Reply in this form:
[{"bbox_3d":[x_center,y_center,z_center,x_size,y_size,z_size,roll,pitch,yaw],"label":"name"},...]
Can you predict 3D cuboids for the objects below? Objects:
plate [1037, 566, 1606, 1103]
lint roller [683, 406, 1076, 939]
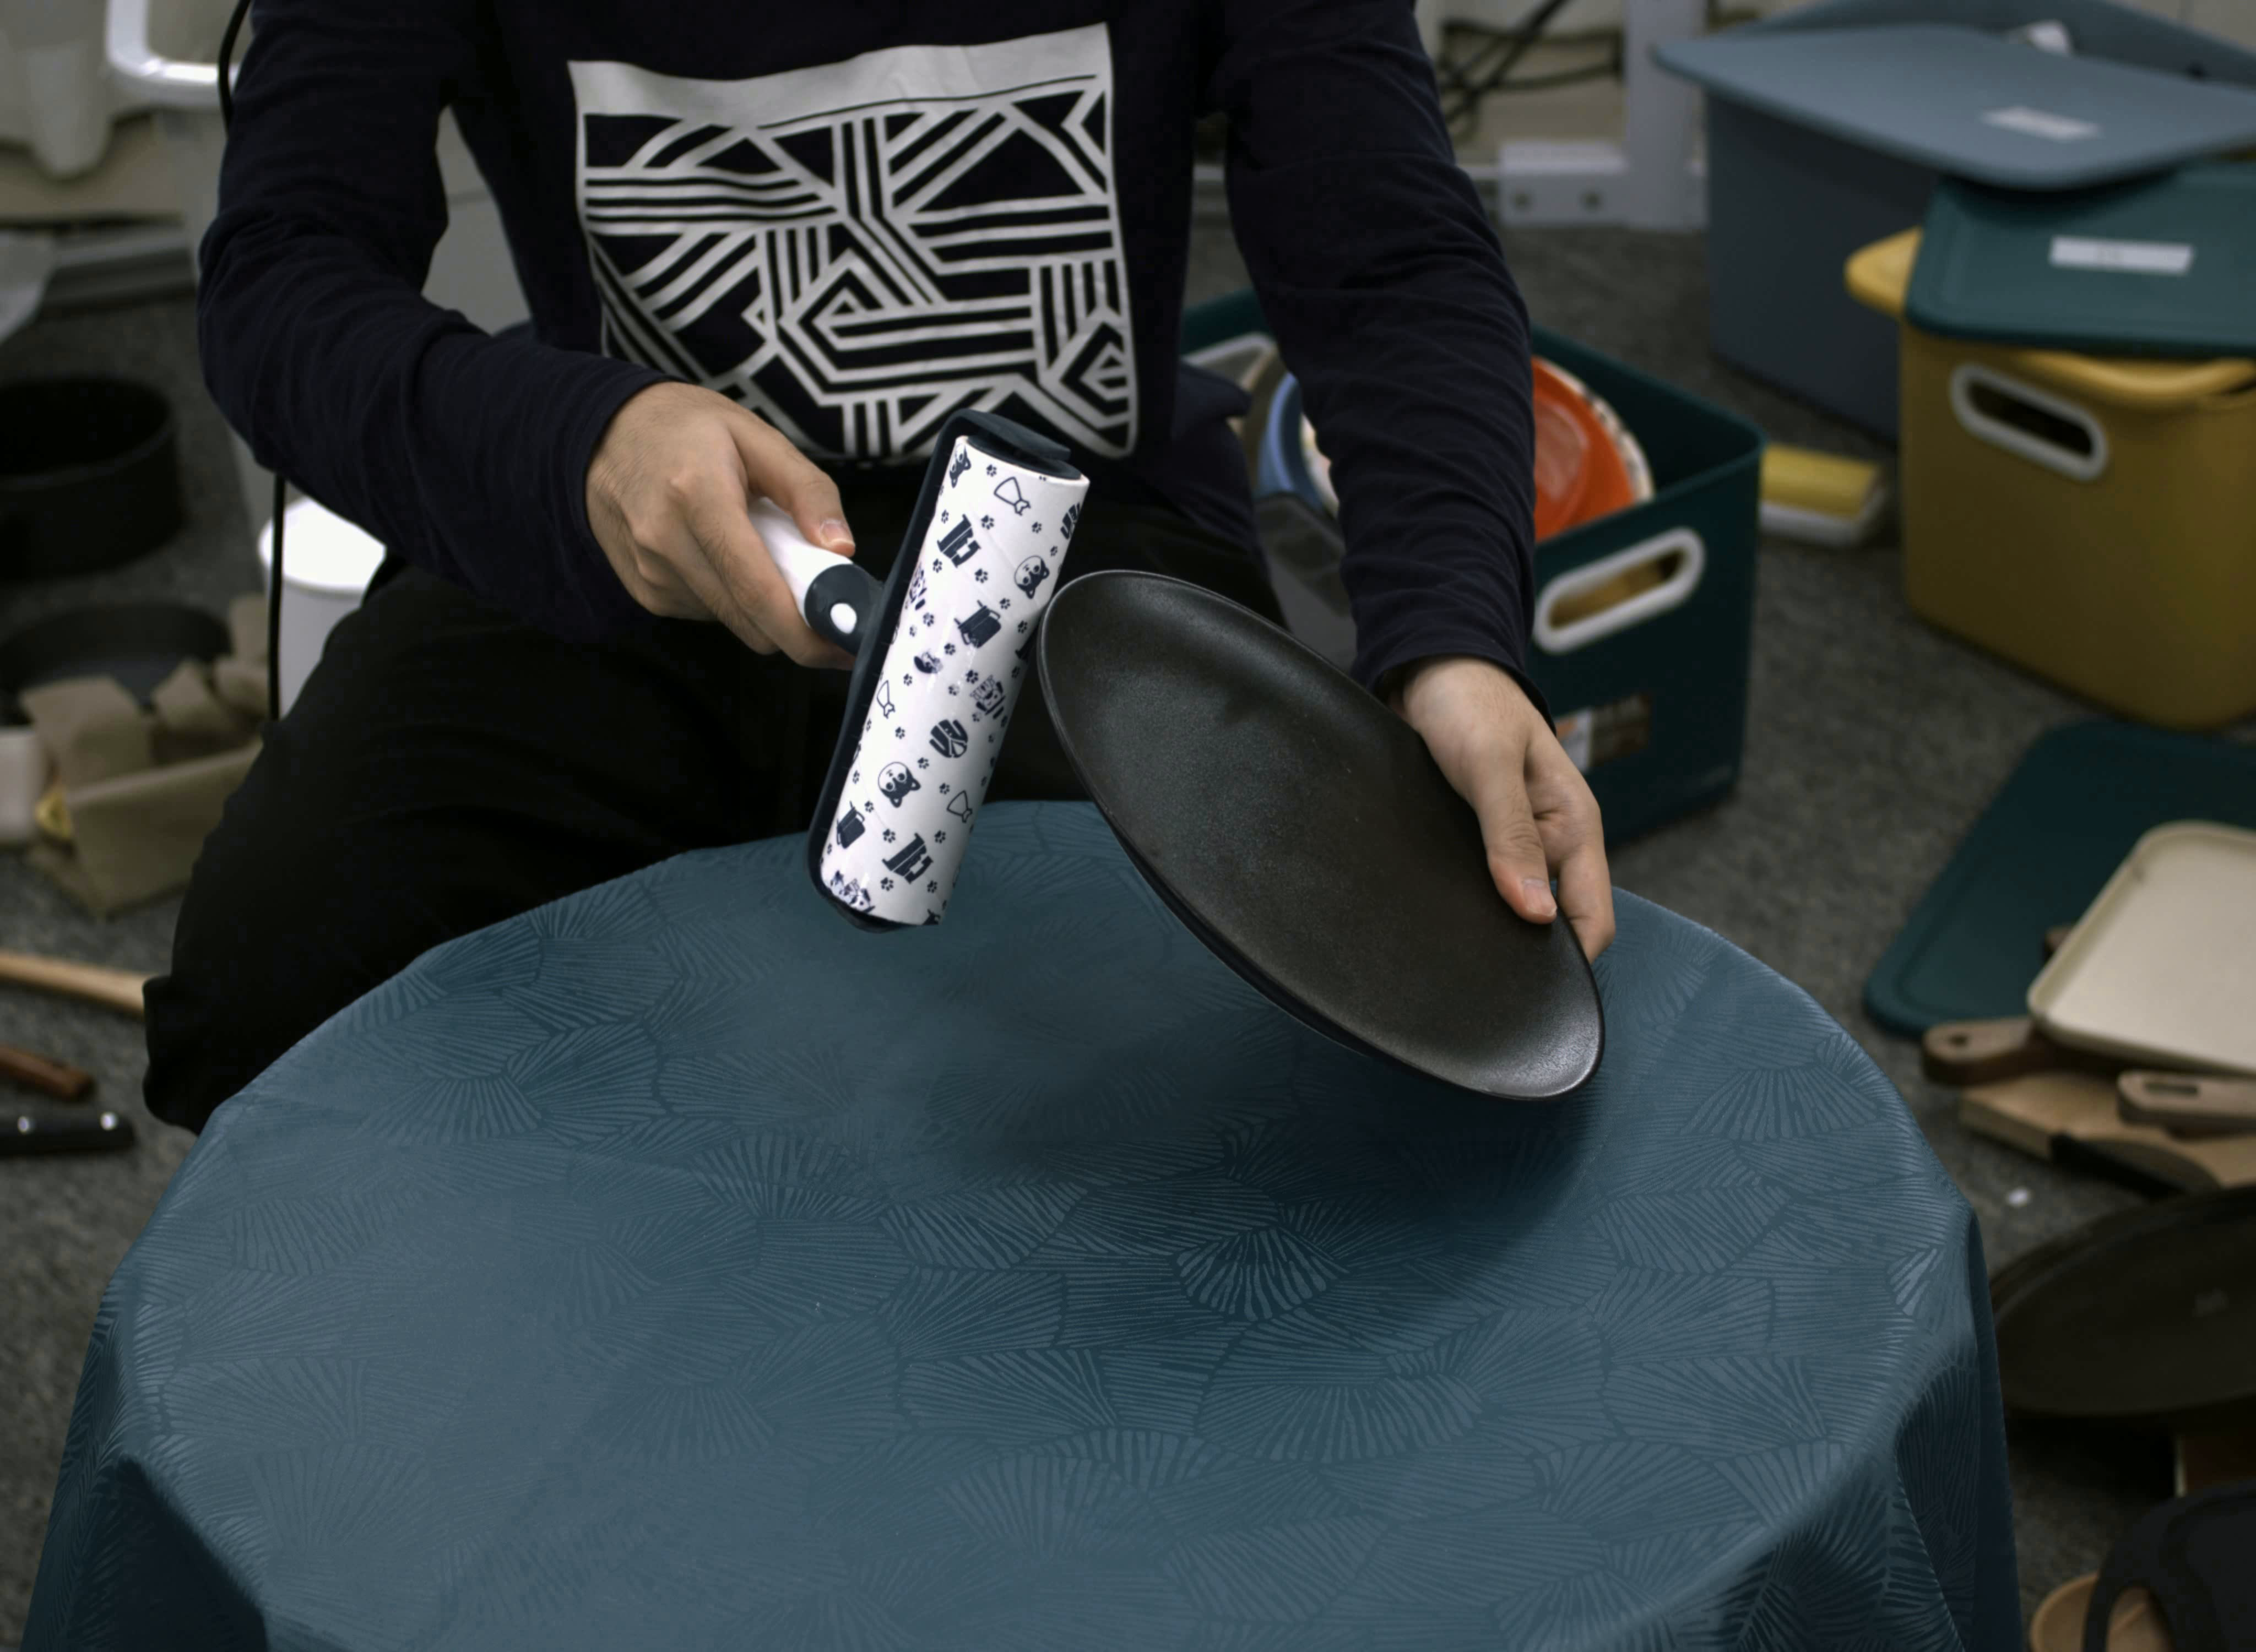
[{"bbox_3d":[0.061,0.007,1.888,0.243,0.023,0.248,34,25,-17],"label":"plate"},{"bbox_3d":[-0.107,-0.080,1.967,0.050,0.176,0.248,11,12,-32],"label":"lint roller"}]
